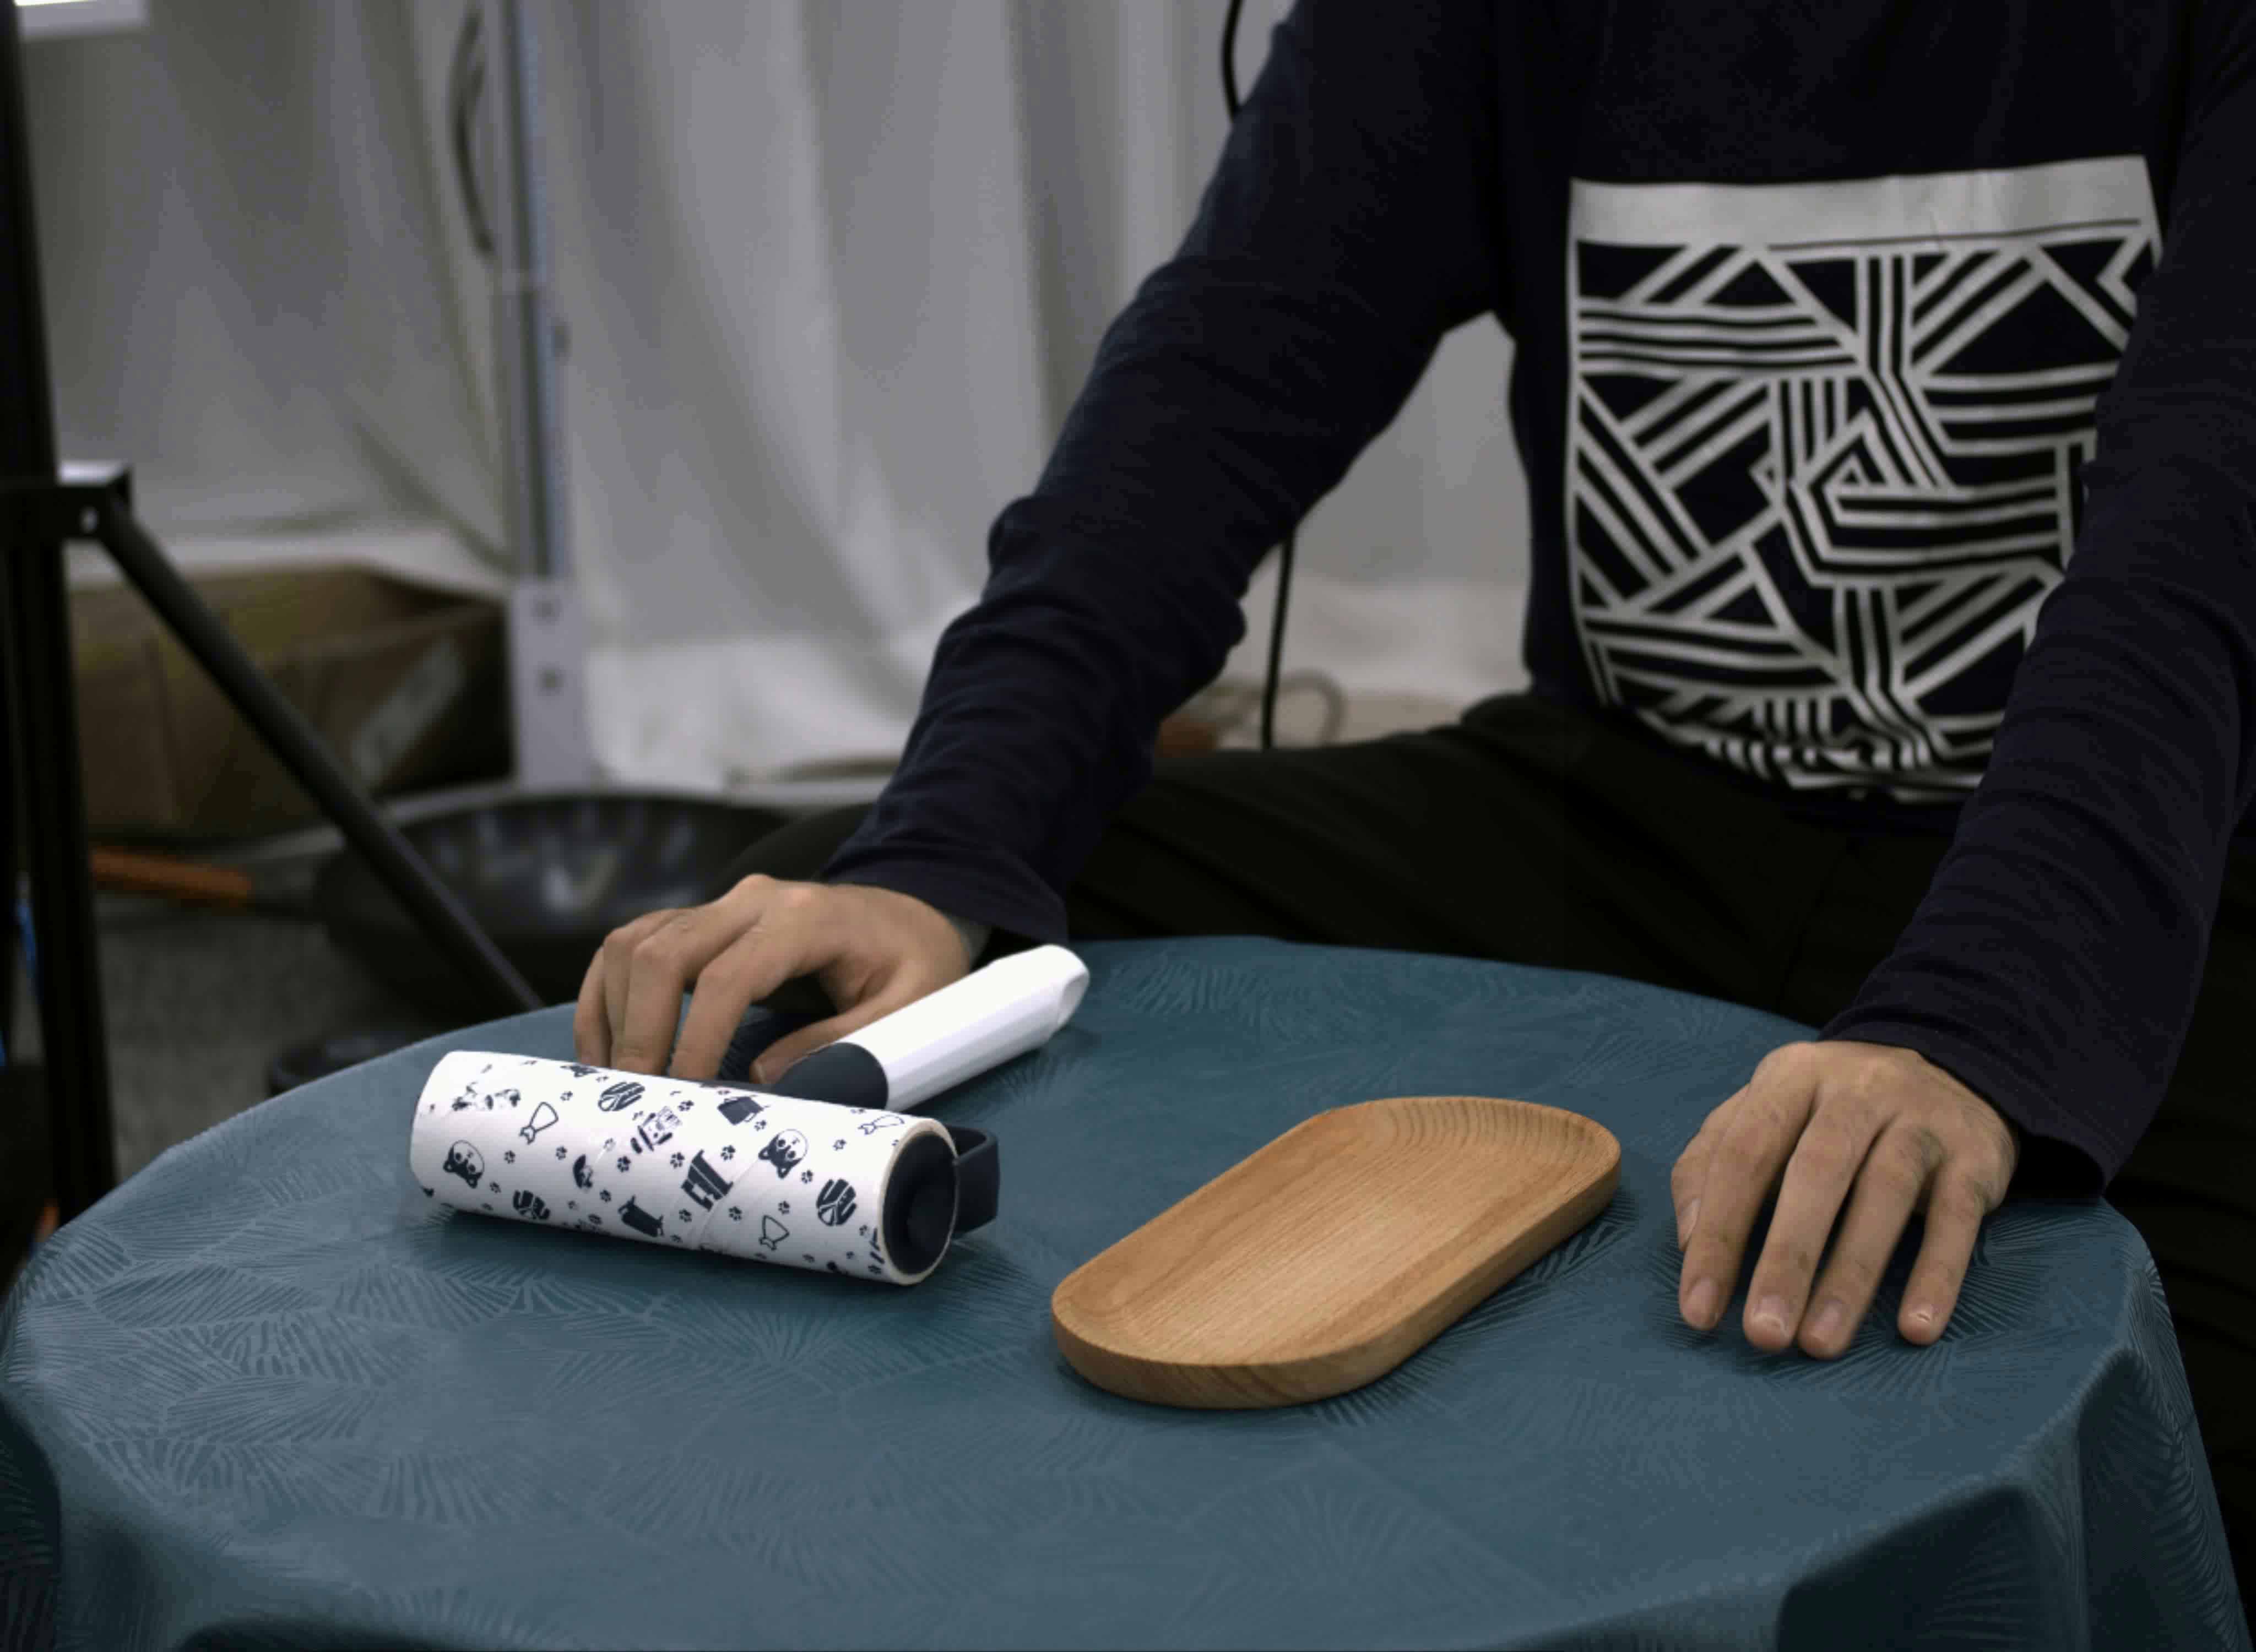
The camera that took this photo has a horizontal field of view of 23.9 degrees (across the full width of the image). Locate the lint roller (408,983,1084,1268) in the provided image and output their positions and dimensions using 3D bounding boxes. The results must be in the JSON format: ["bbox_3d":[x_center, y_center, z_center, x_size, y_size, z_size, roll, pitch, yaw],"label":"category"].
[{"bbox_3d":[-0.081,0.076,1.618,0.179,0.050,0.242,6,14,28],"label":"lint roller"}]

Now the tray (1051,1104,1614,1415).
[{"bbox_3d":[0.061,0.119,1.484,0.103,0.020,0.227,4,18,28],"label":"tray"}]
